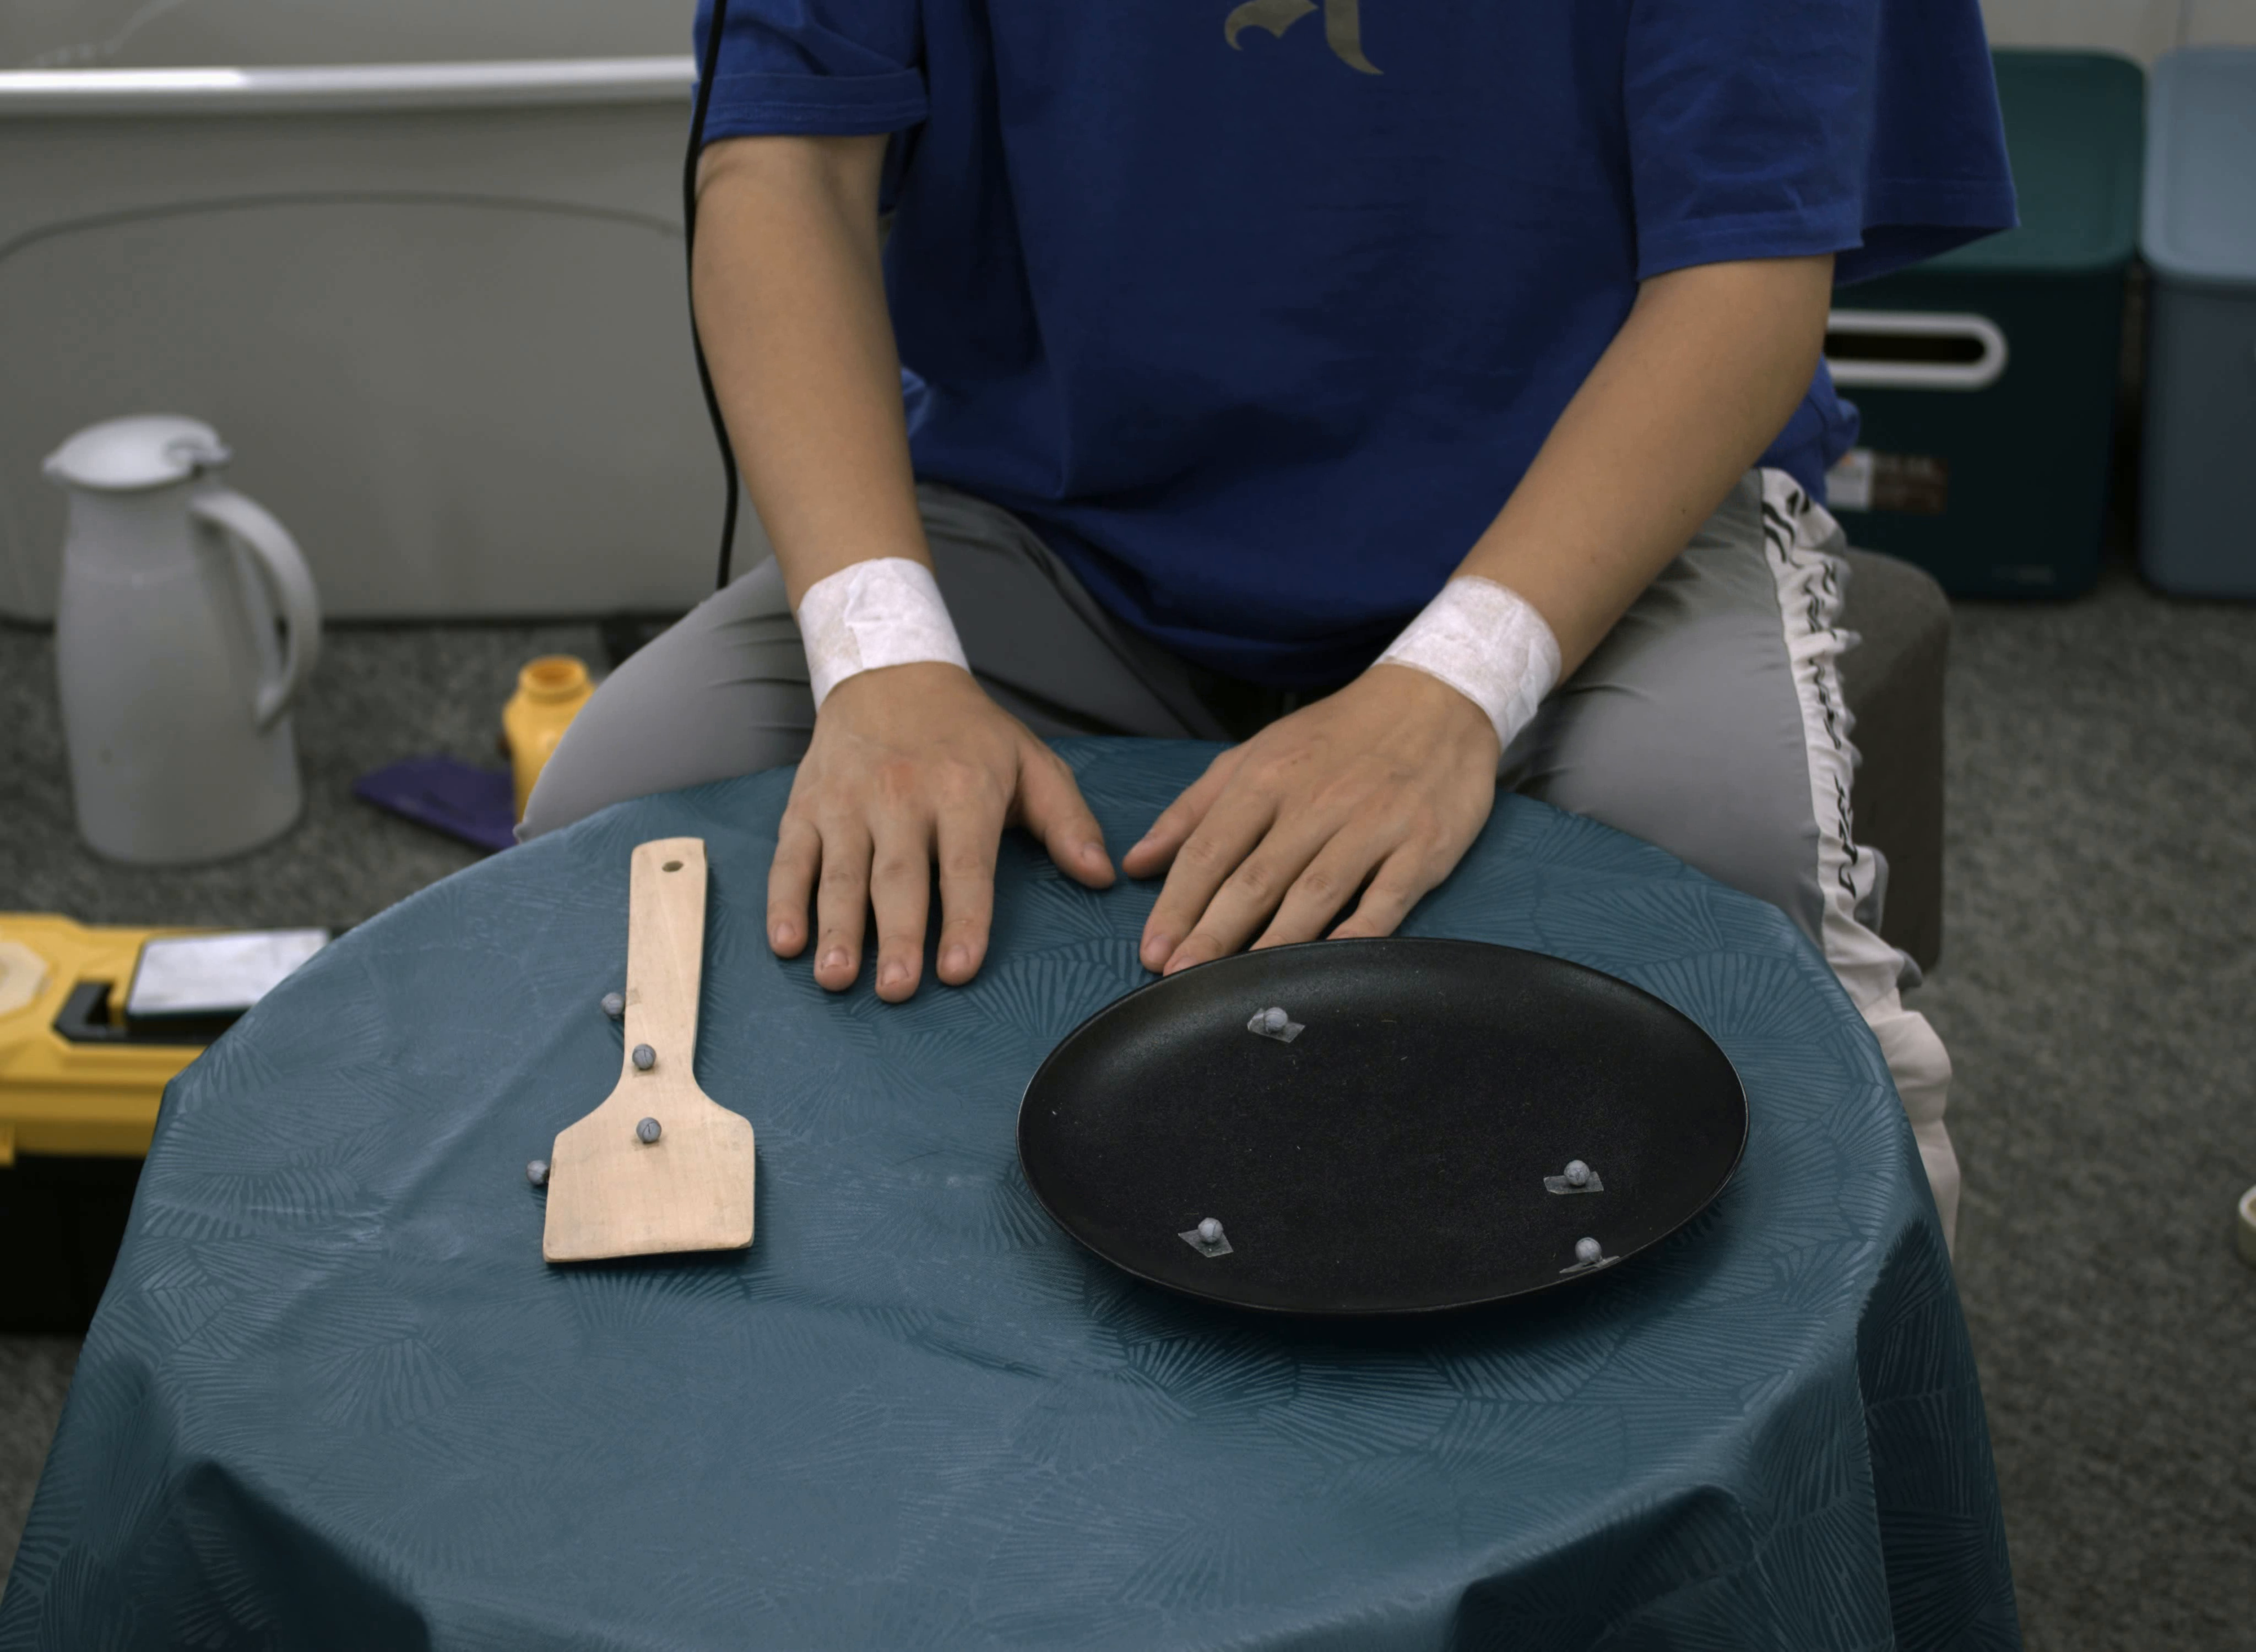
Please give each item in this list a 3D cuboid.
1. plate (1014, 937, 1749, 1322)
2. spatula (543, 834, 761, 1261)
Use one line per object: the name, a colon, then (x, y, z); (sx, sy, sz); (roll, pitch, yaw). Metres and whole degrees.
plate: (0.083, 0.104, 1.862); (0.243, 0.023, 0.248); (-2, 27, 2)
spatula: (-0.163, 0.074, 1.960); (0.072, 0.010, 0.297); (-5, 28, -1)
